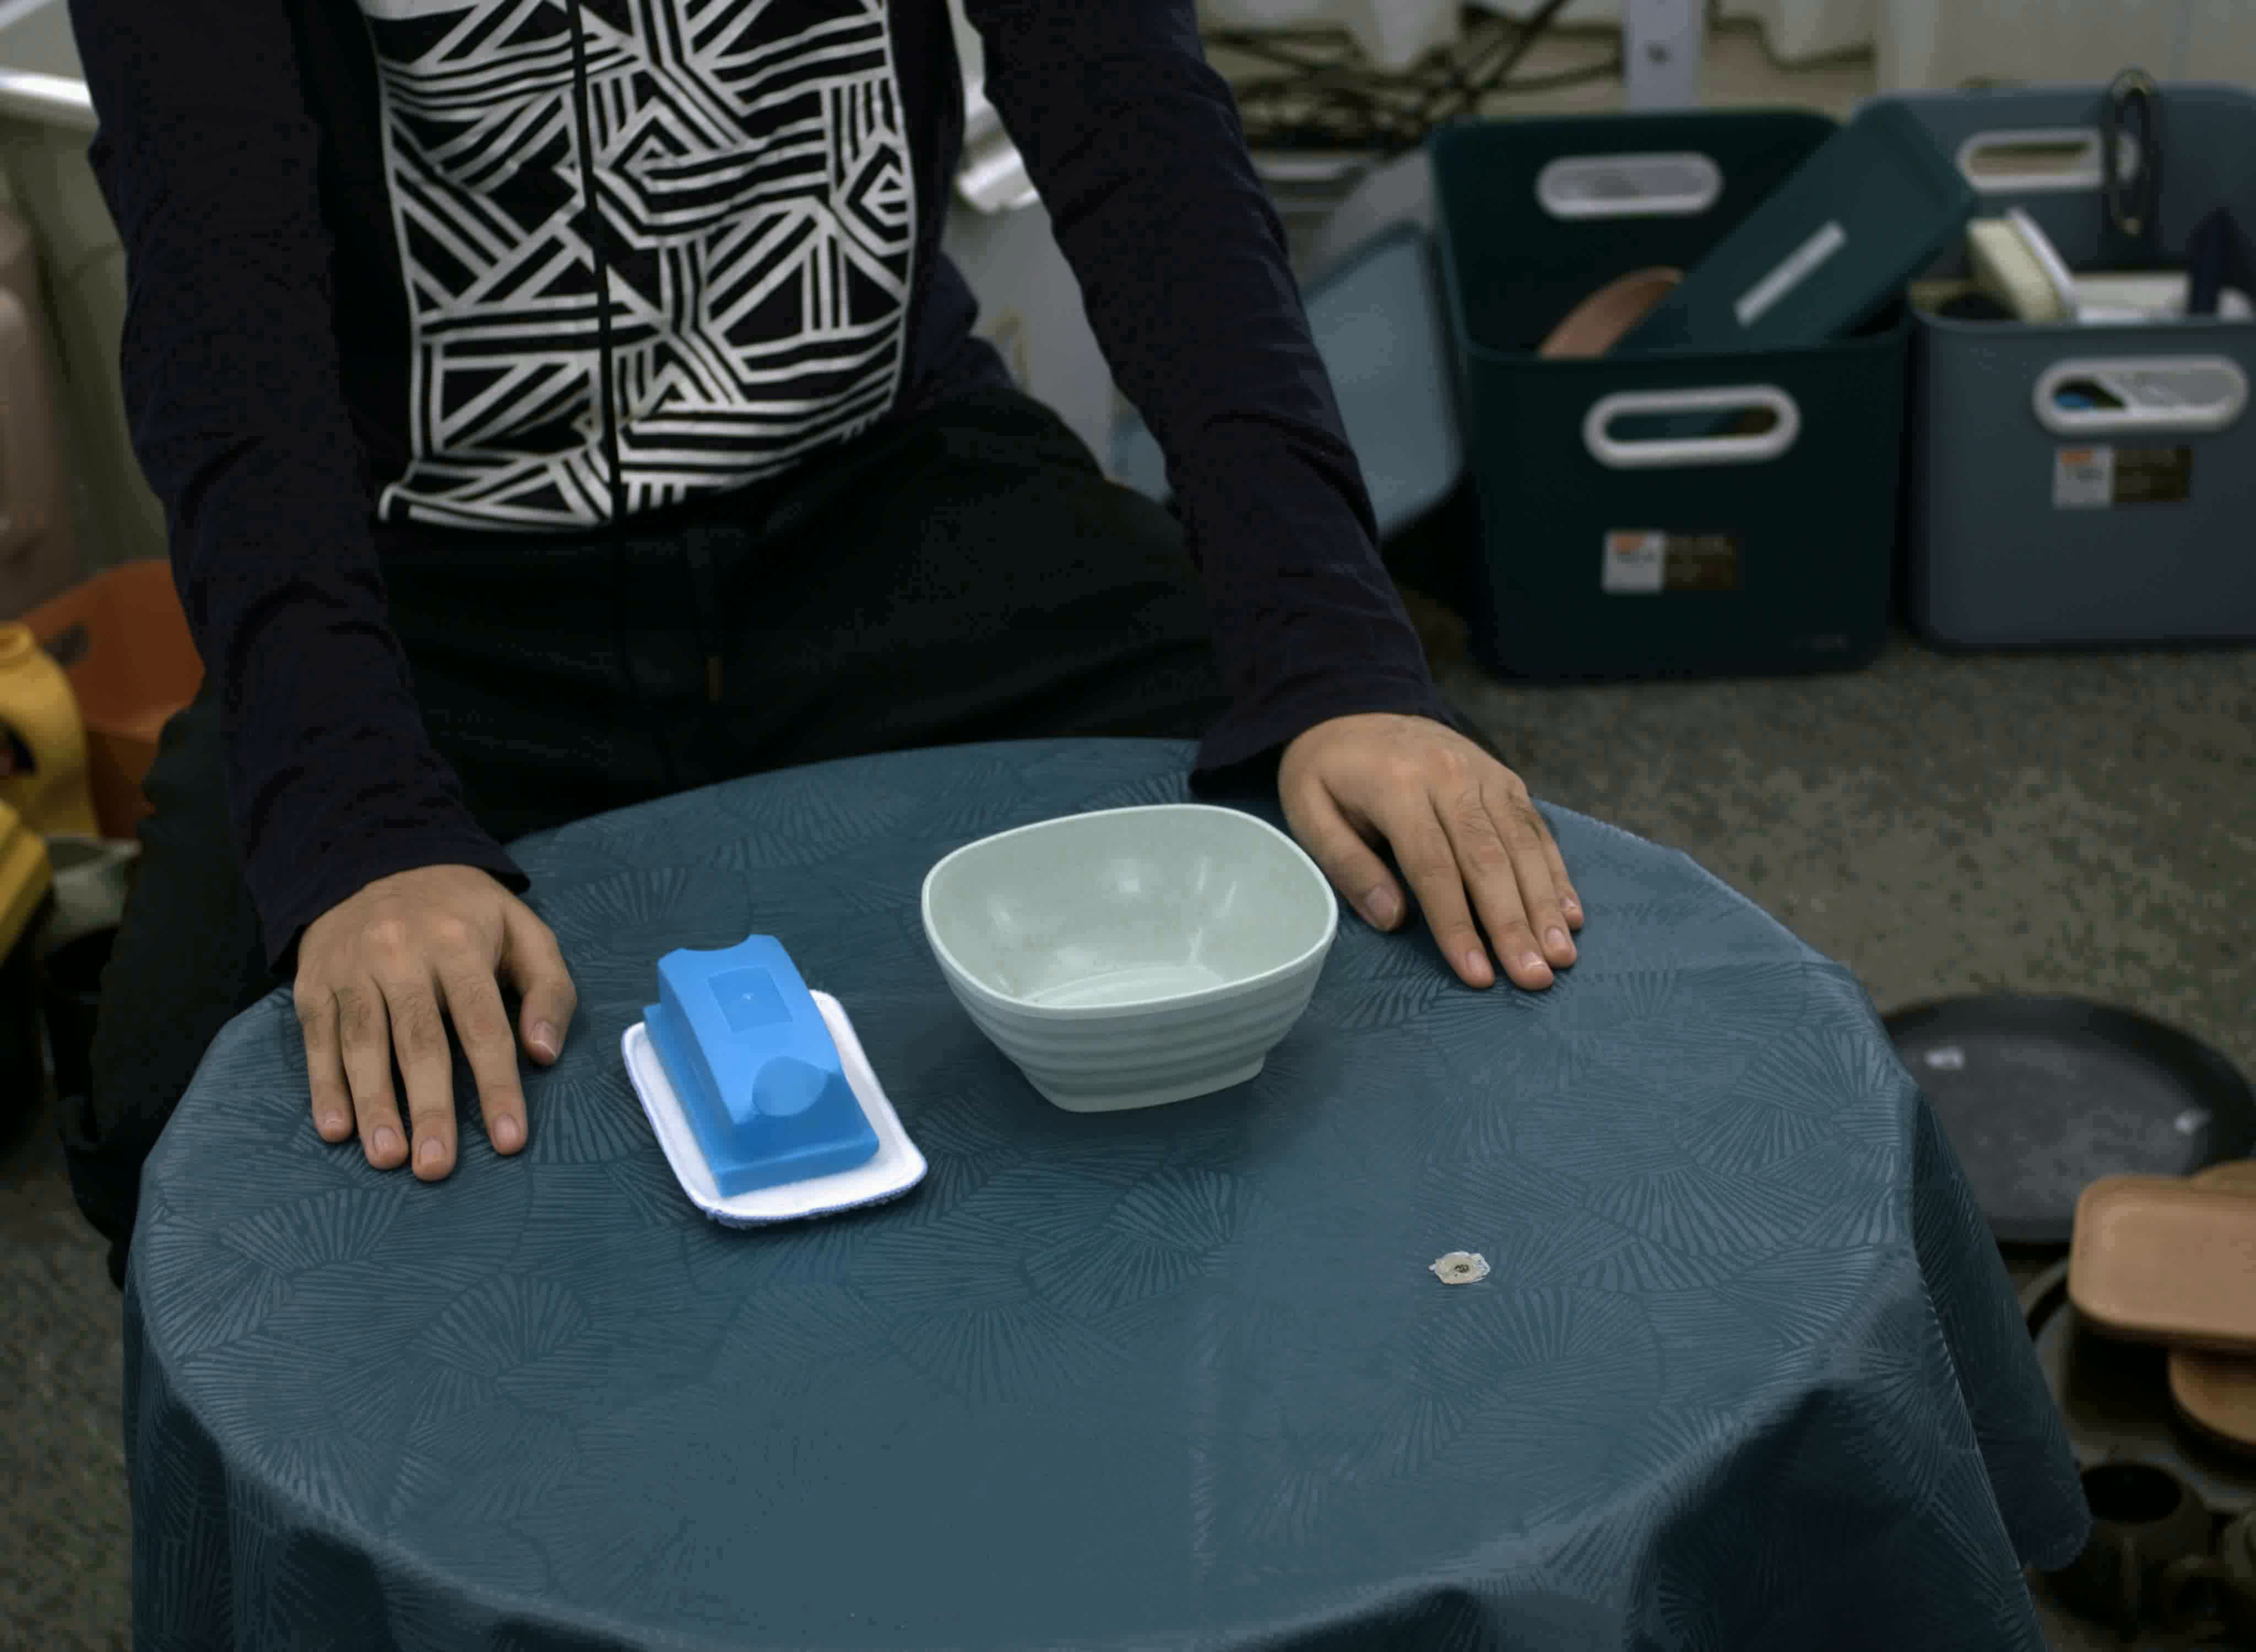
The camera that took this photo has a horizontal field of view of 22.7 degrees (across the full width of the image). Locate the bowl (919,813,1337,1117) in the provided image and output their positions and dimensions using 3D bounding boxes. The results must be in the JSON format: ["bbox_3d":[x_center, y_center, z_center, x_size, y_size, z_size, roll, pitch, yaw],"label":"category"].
[{"bbox_3d":[0.000,0.053,1.933,0.151,0.058,0.154,0,26,1],"label":"bowl"}]

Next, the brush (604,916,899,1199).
[{"bbox_3d":[-0.127,0.074,1.899,0.084,0.055,0.145,-6,28,-14],"label":"brush"}]
